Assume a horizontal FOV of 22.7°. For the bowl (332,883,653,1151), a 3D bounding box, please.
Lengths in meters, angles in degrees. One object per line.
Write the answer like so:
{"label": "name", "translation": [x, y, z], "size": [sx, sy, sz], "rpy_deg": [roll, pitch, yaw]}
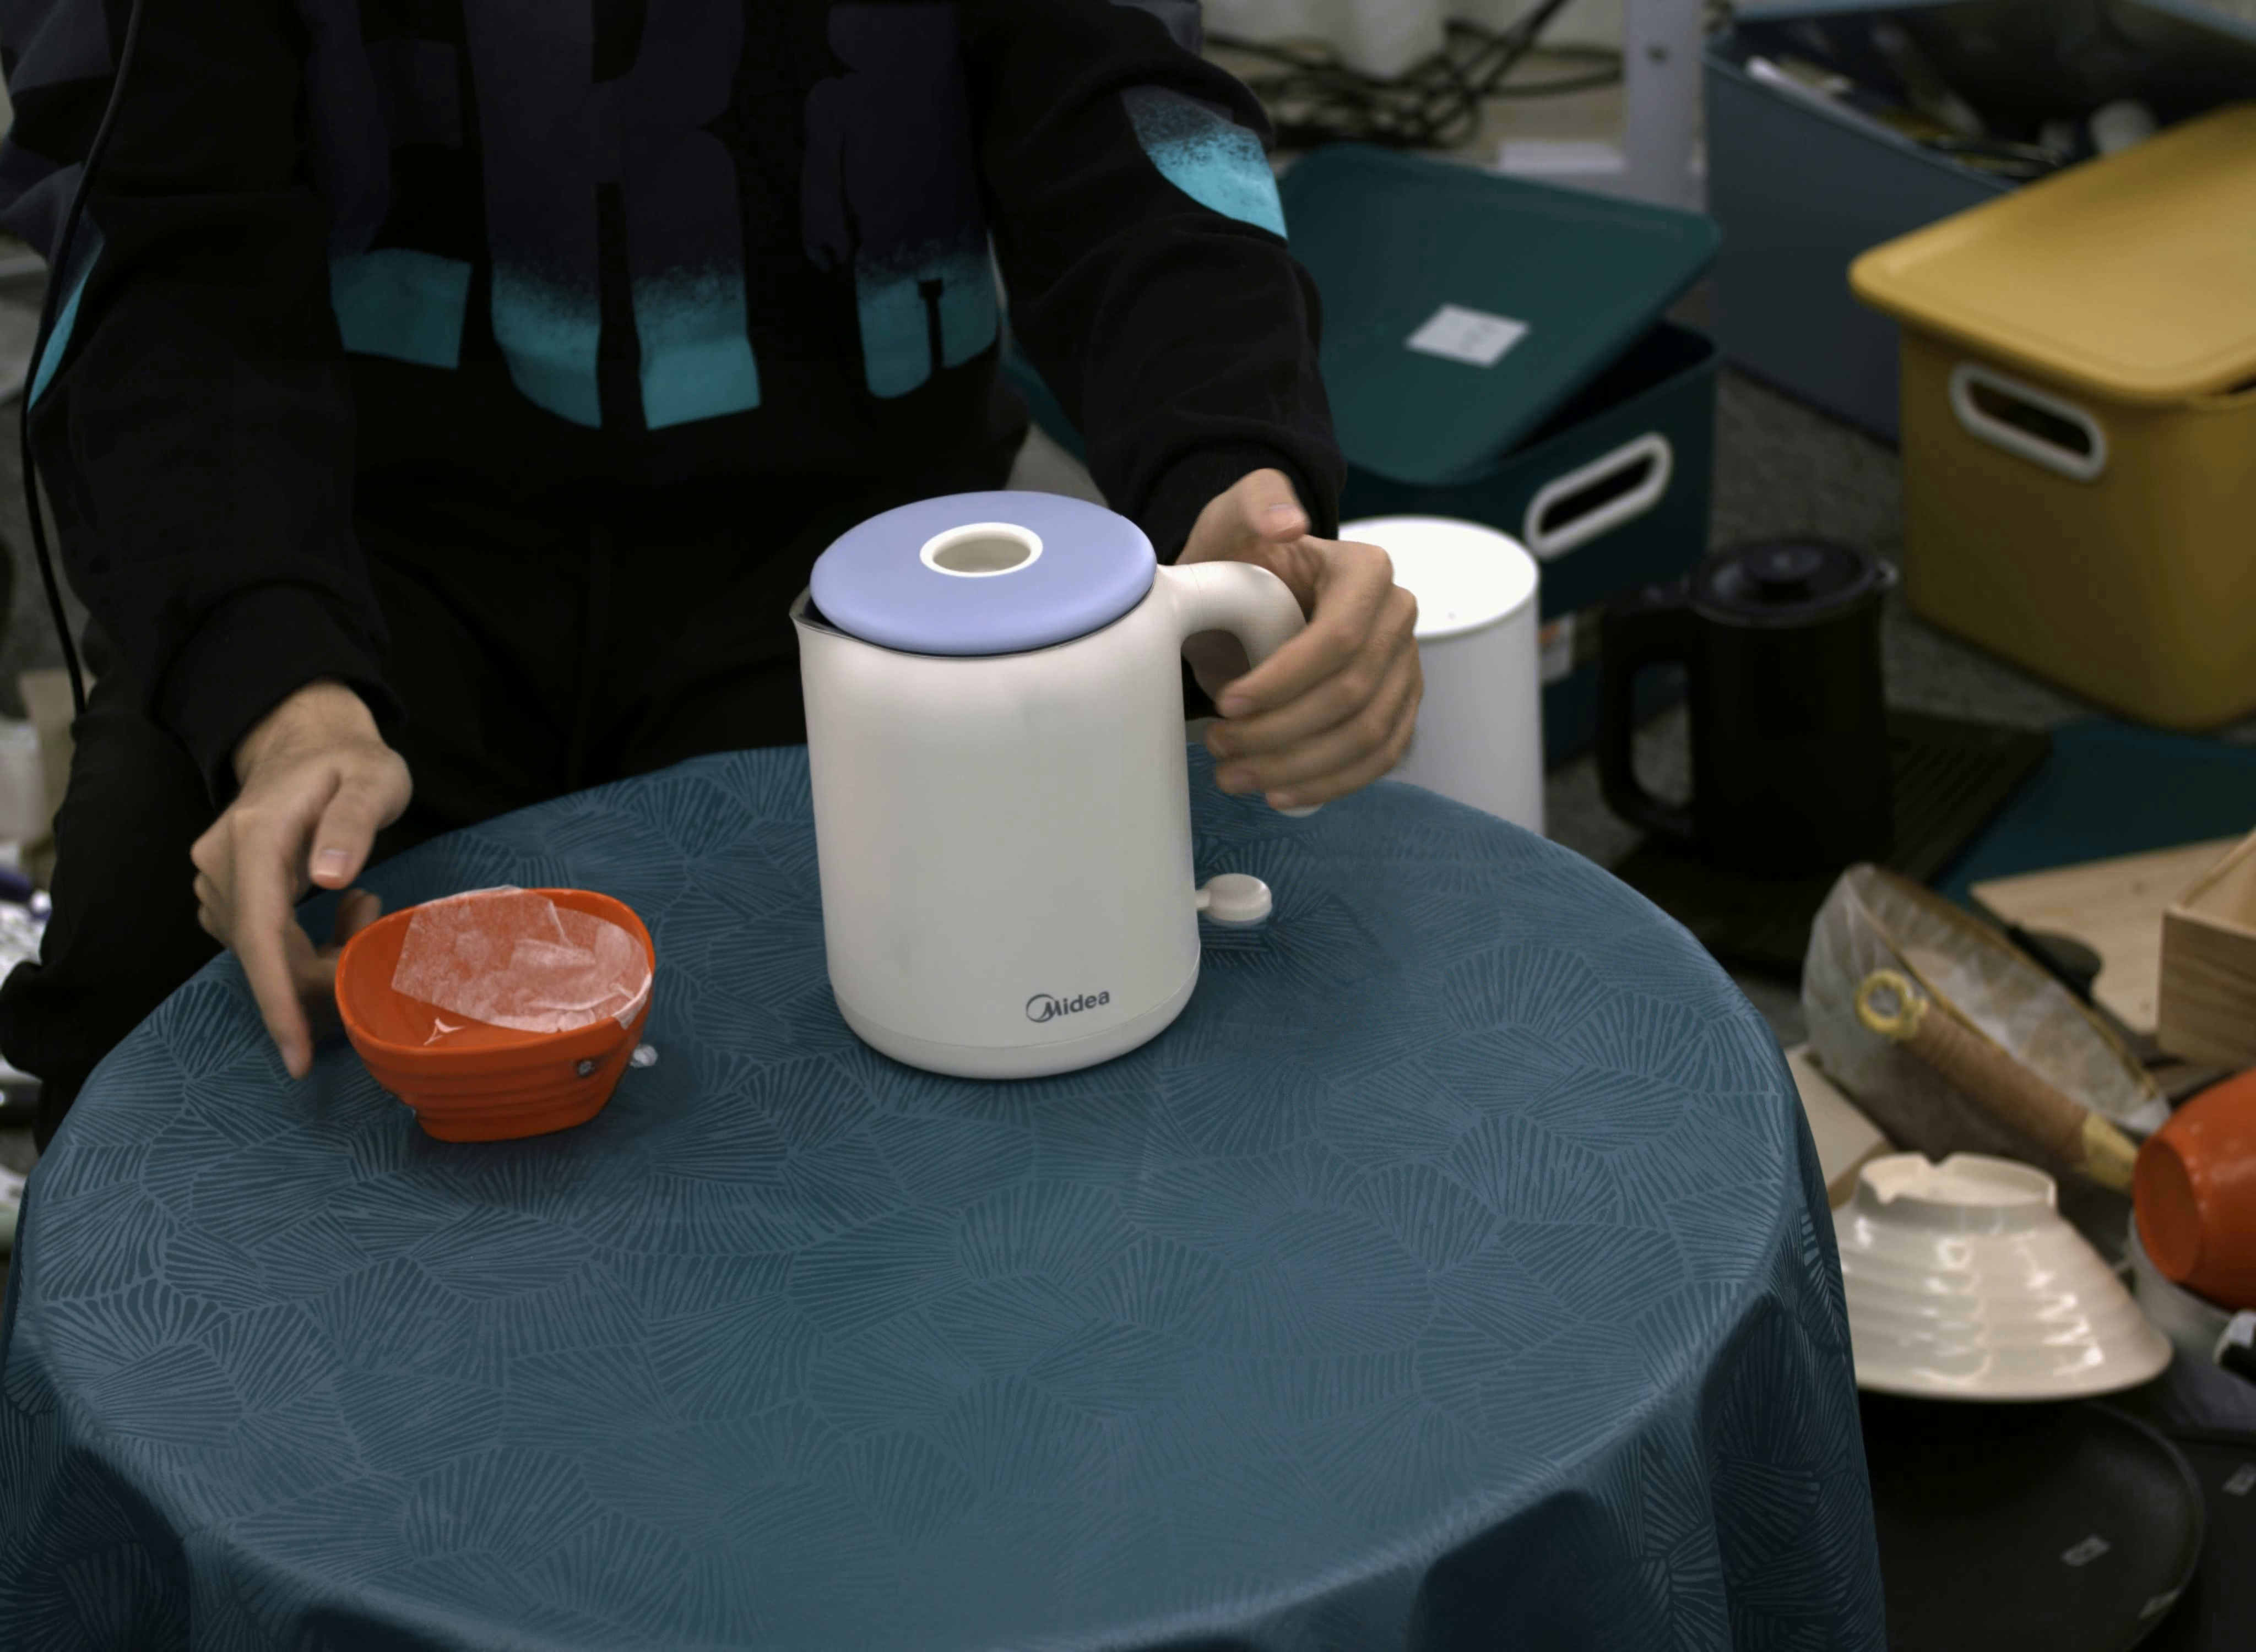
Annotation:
{"label": "bowl", "translation": [-0.214, 0.071, 1.927], "size": [0.118, 0.051, 0.121], "rpy_deg": [-5, 30, 3]}

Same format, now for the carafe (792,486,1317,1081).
{"label": "carafe", "translation": [-0.022, -0.020, 1.952], "size": [0.191, 0.180, 0.133], "rpy_deg": [-10, 29, -18]}
